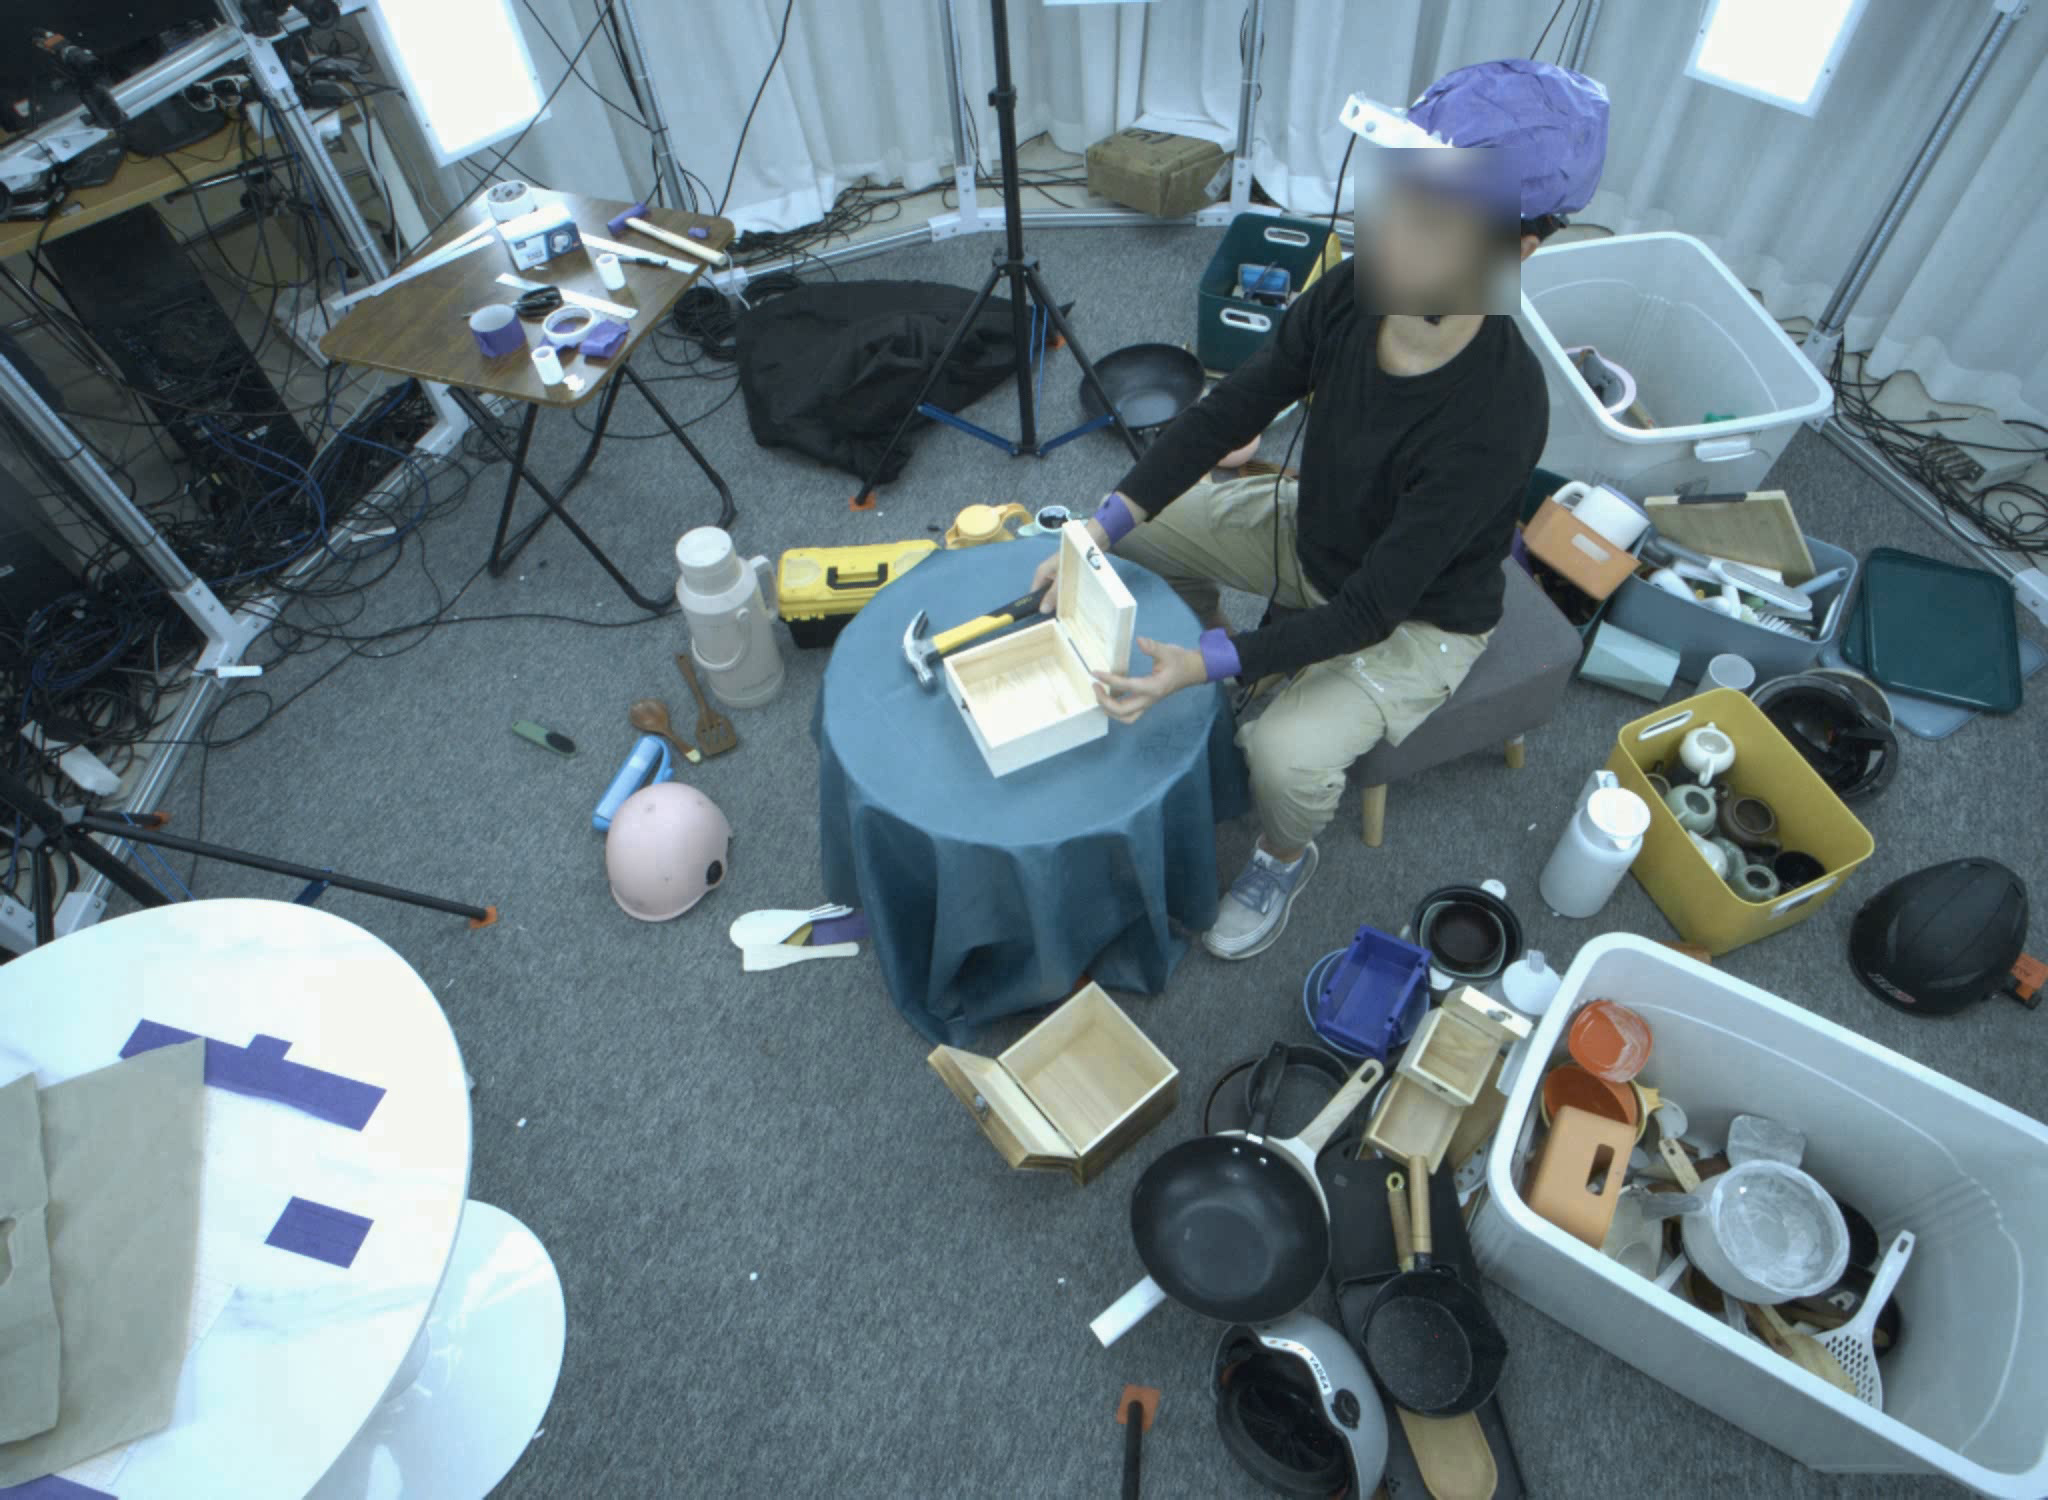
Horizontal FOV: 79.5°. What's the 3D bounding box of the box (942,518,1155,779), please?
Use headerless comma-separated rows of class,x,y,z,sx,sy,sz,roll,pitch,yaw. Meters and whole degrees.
box,0.026,-0.143,1.731,0.267,0.256,0.178,-22,54,-13

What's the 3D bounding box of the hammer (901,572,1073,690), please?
hammer,-0.030,-0.211,1.890,0.339,0.033,0.129,-24,56,-5
